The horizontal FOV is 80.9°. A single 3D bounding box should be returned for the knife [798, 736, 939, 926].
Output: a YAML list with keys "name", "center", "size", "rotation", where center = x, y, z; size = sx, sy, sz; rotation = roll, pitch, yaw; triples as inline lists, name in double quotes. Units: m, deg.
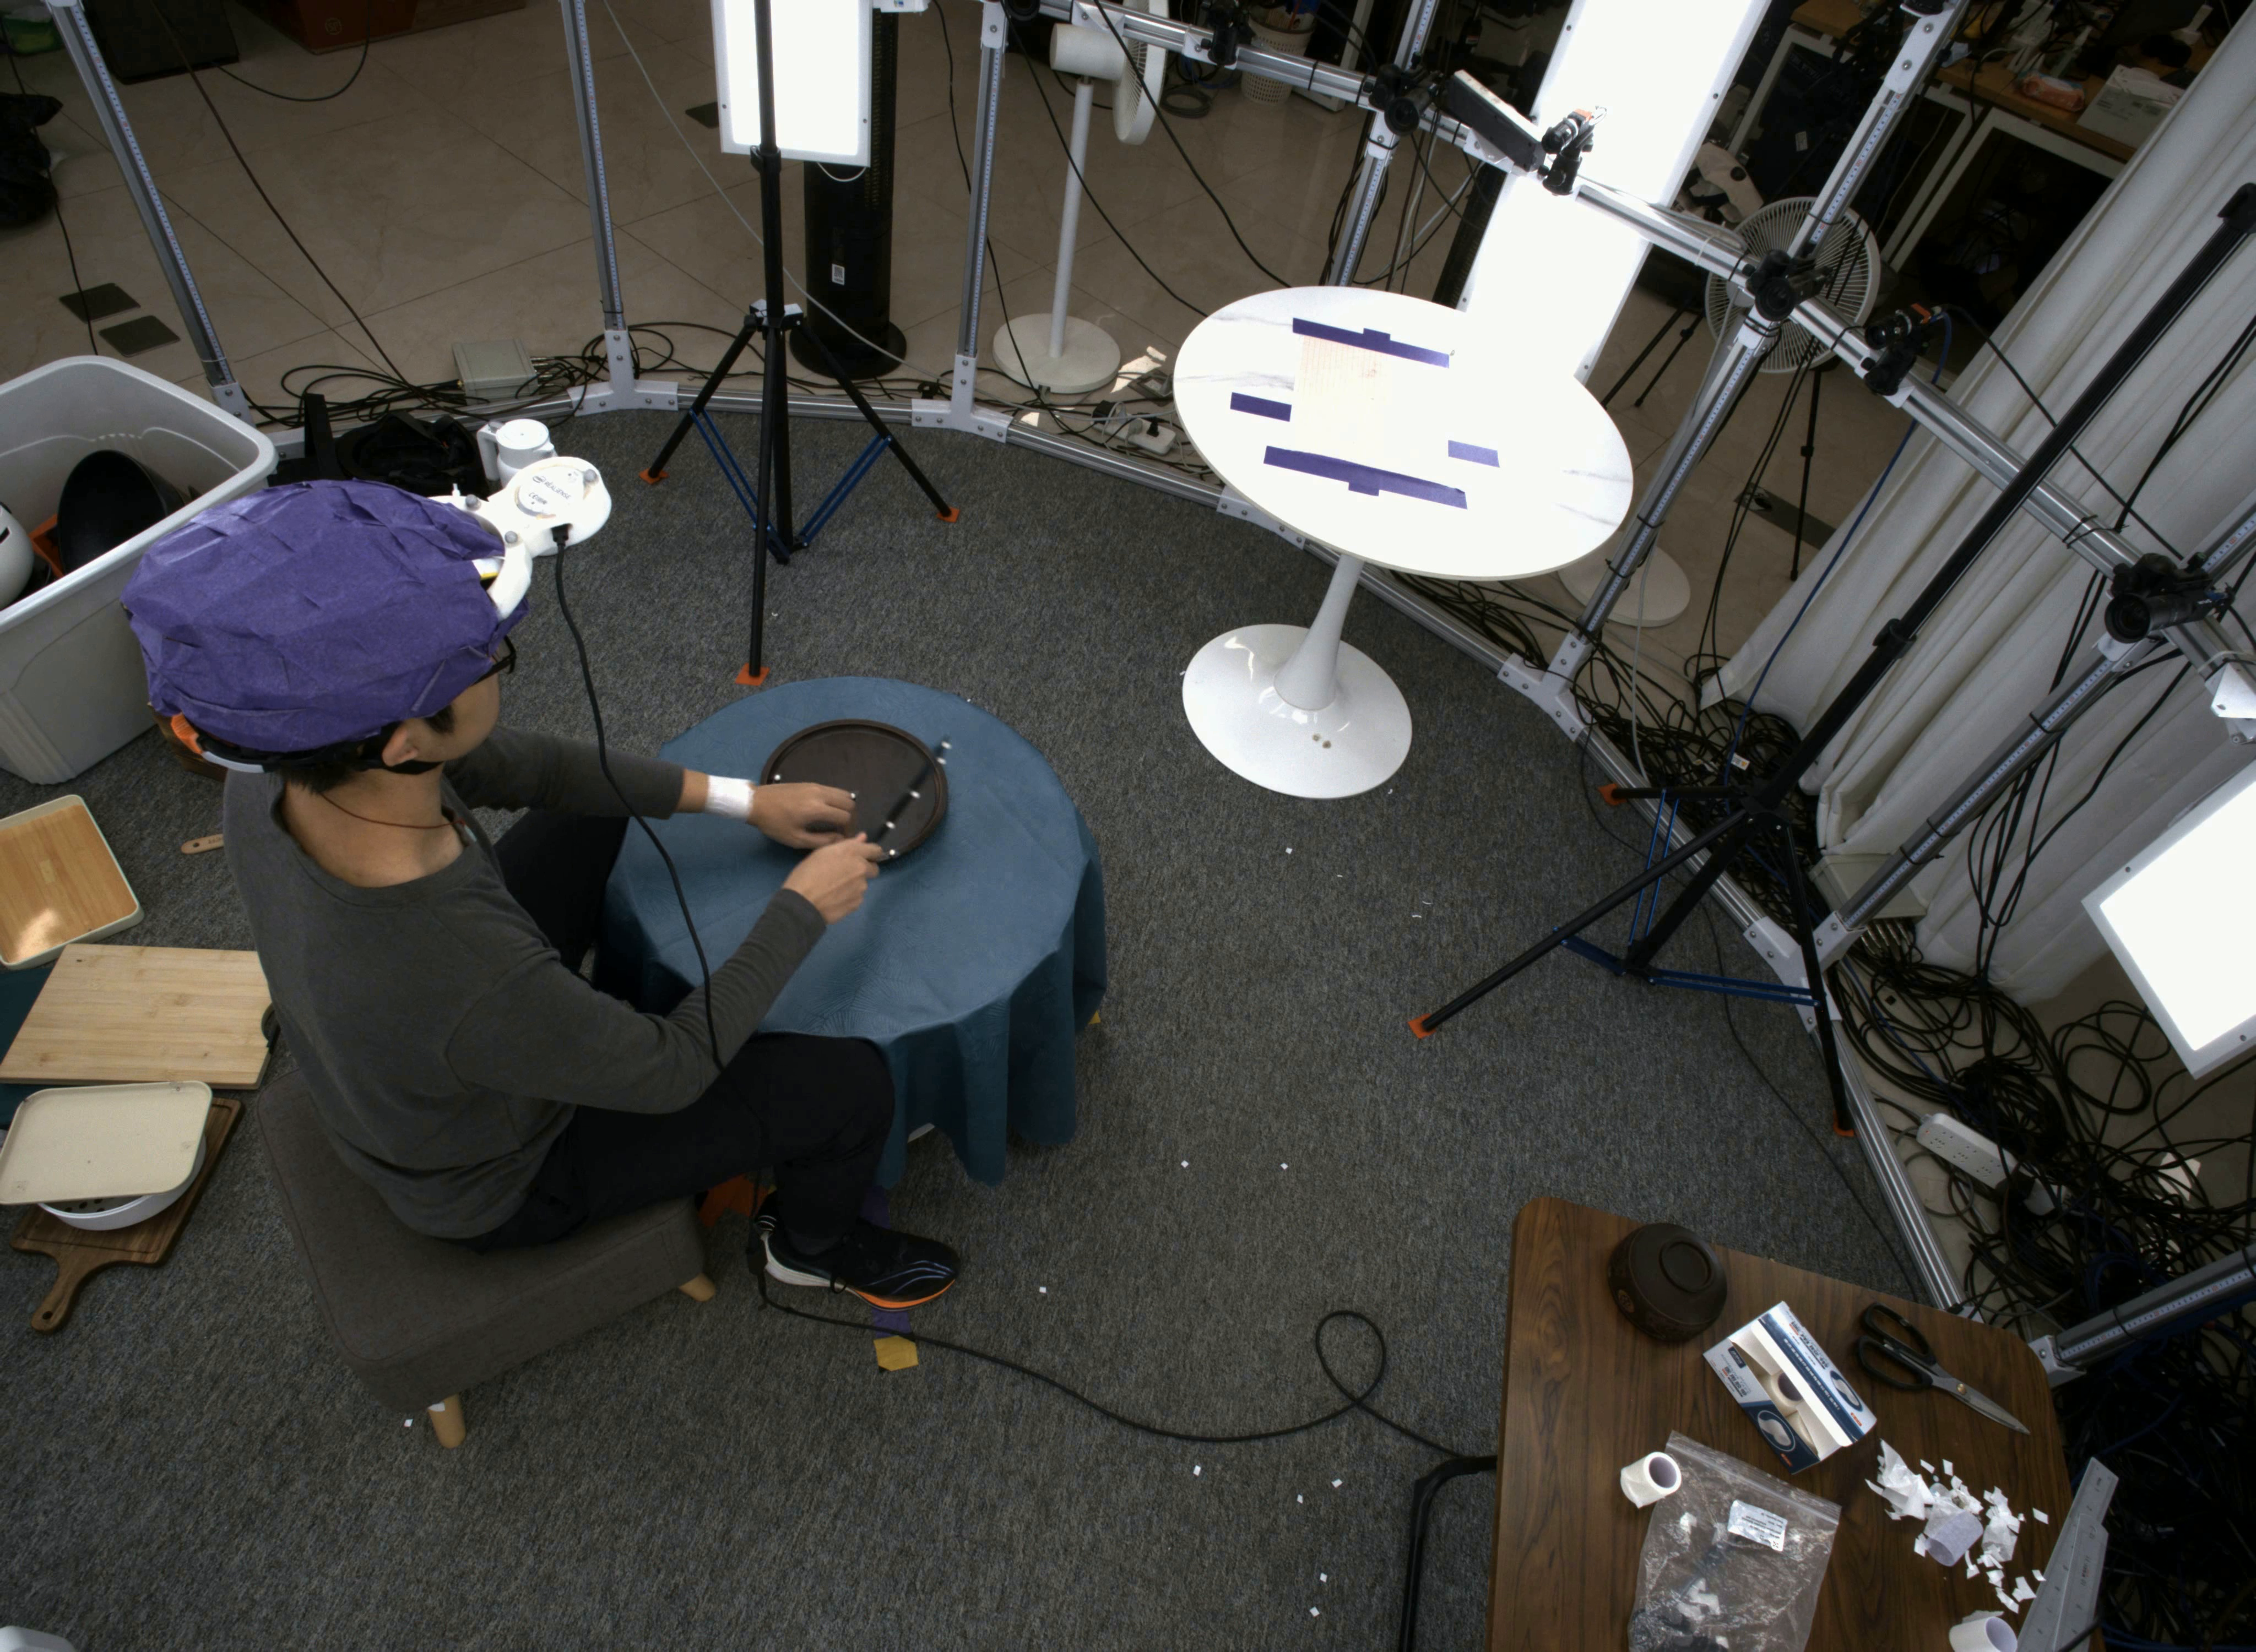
- name: "knife"
  center: [-0.319, 0.004, 1.626]
  size: [0.021, 0.082, 0.301]
  rotation: [31, 56, 2]

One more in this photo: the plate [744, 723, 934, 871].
- name: "plate"
  center: [-0.390, -0.042, 1.761]
  size: [0.254, 0.029, 0.250]
  rotation: [8, 53, -10]
